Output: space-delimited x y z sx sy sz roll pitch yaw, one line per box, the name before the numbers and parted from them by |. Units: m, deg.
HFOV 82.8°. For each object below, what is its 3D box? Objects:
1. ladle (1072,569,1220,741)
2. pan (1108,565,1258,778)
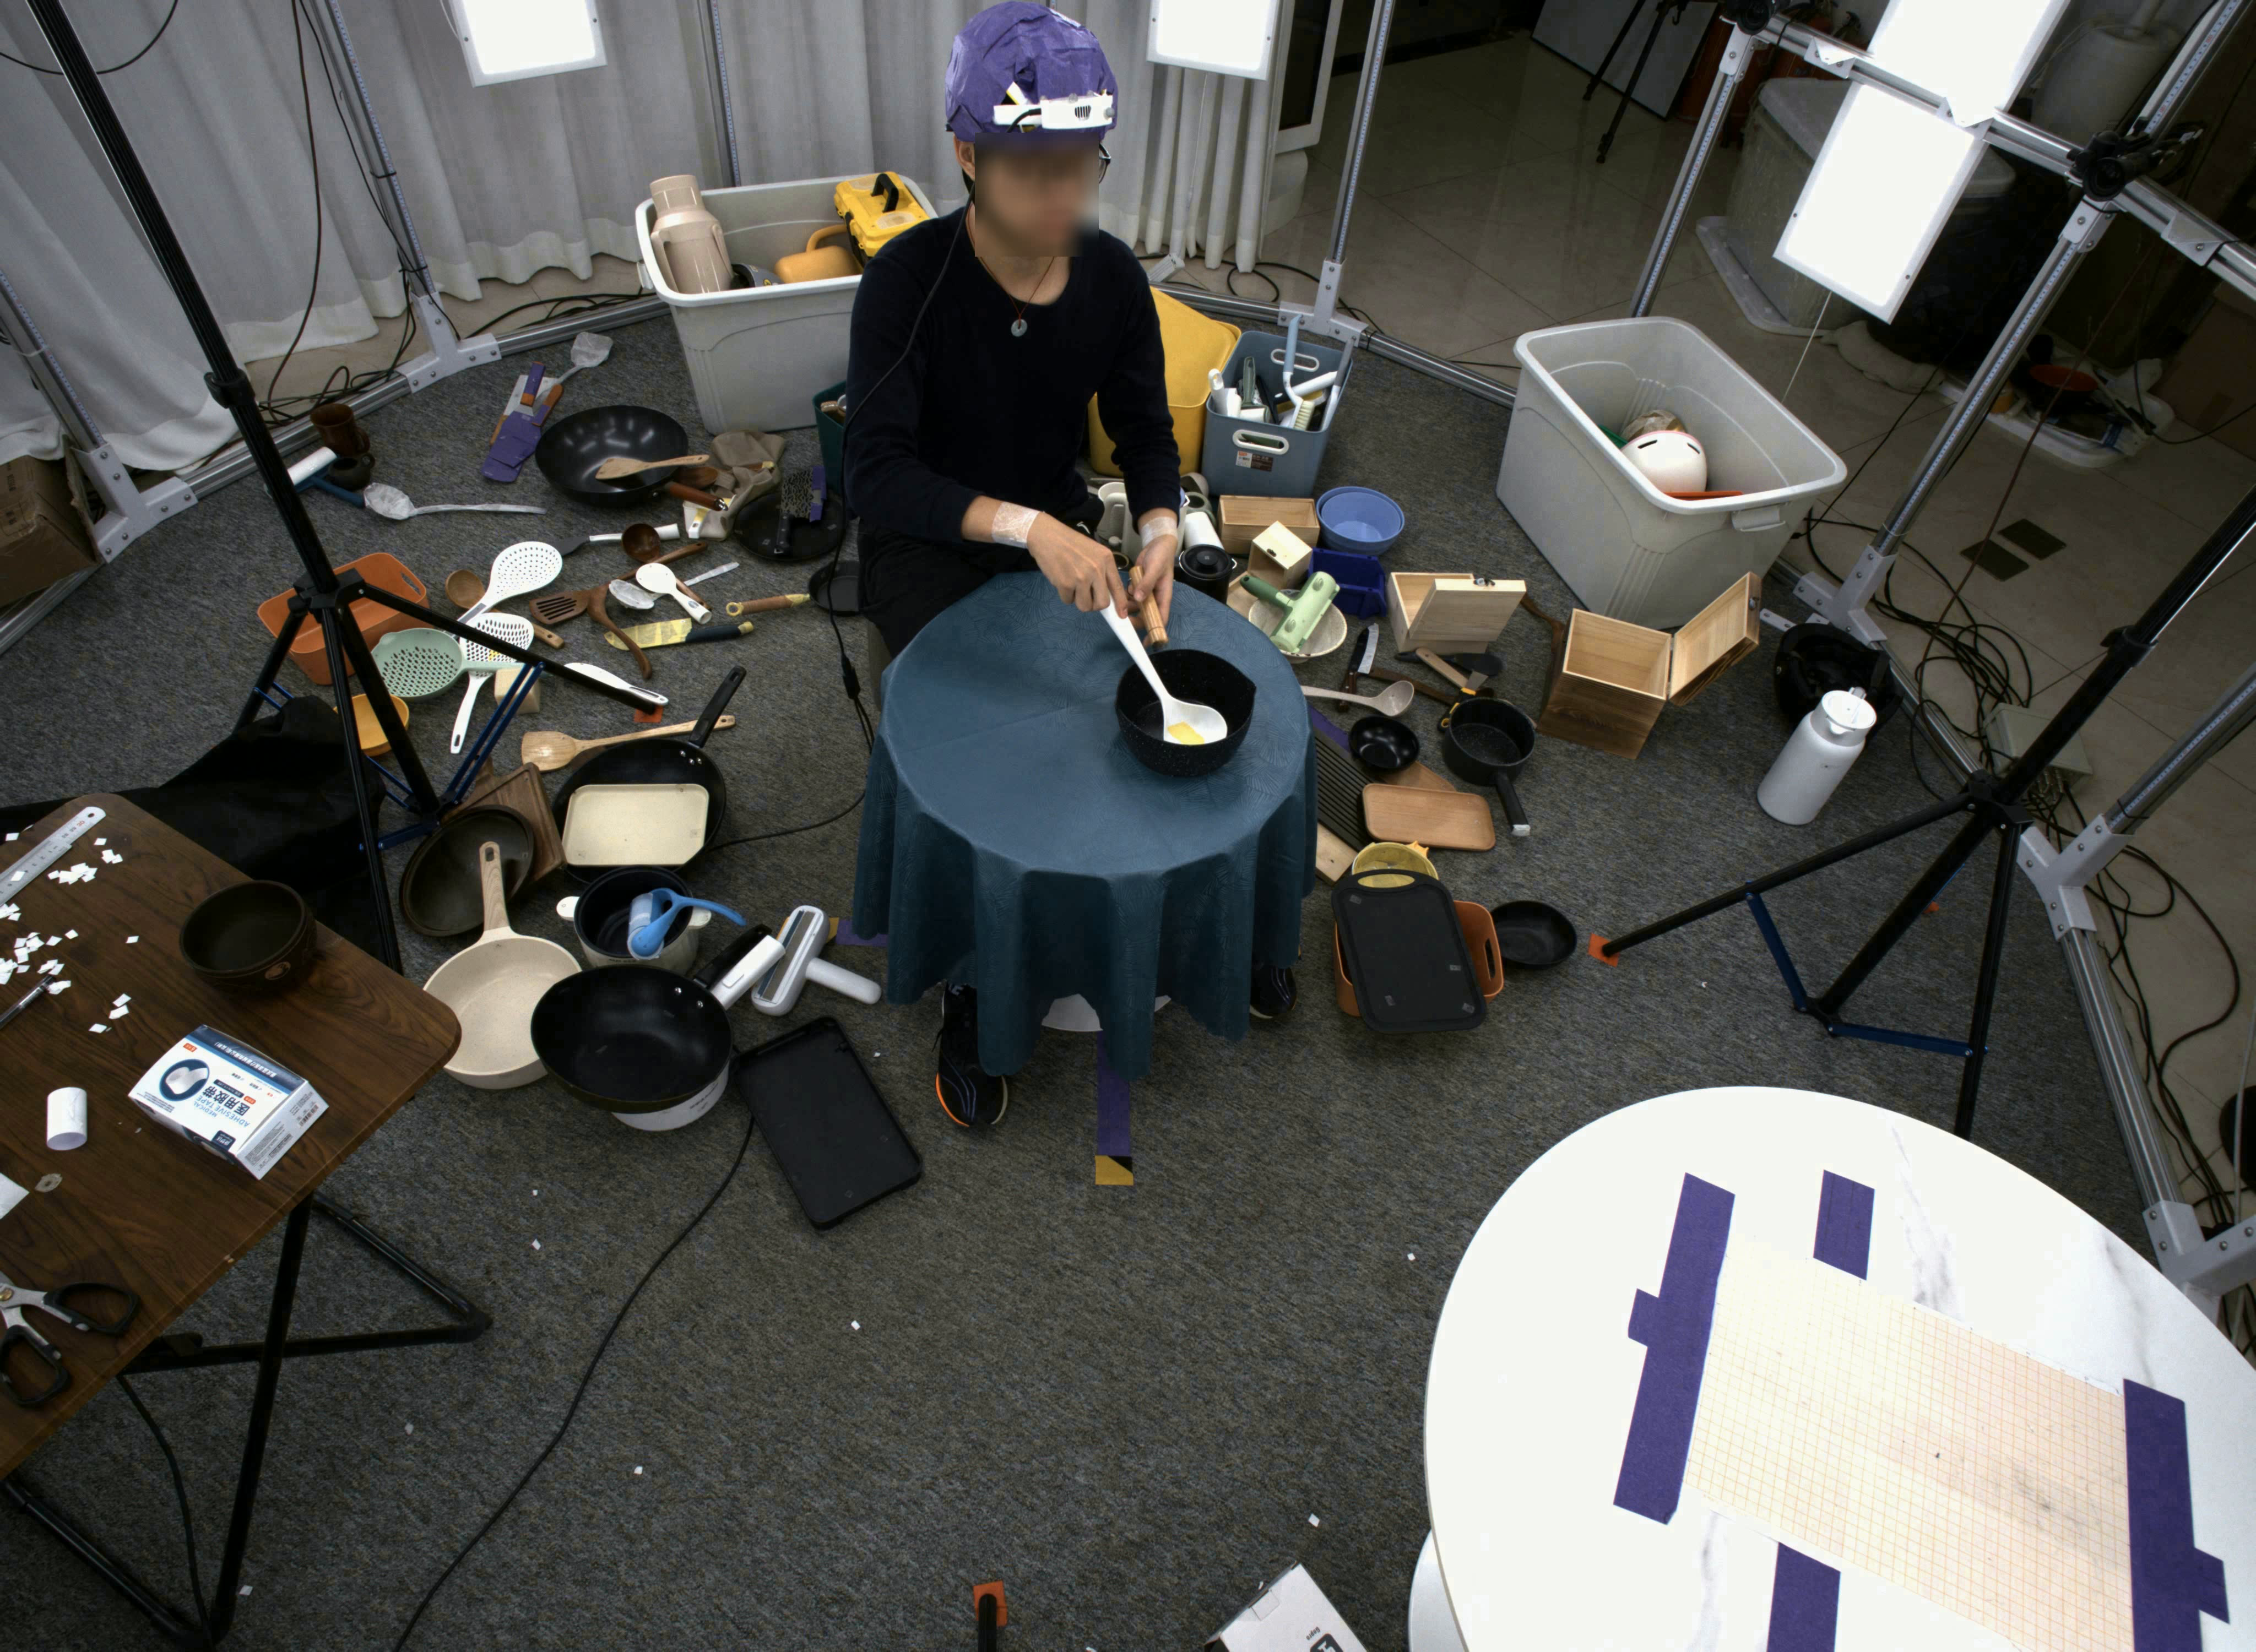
ladle | 0.020 -0.211 1.712 0.090 0.289 0.071 -35 18 -4
pan | 0.053 -0.216 1.790 0.207 0.105 0.351 -11 52 -12
